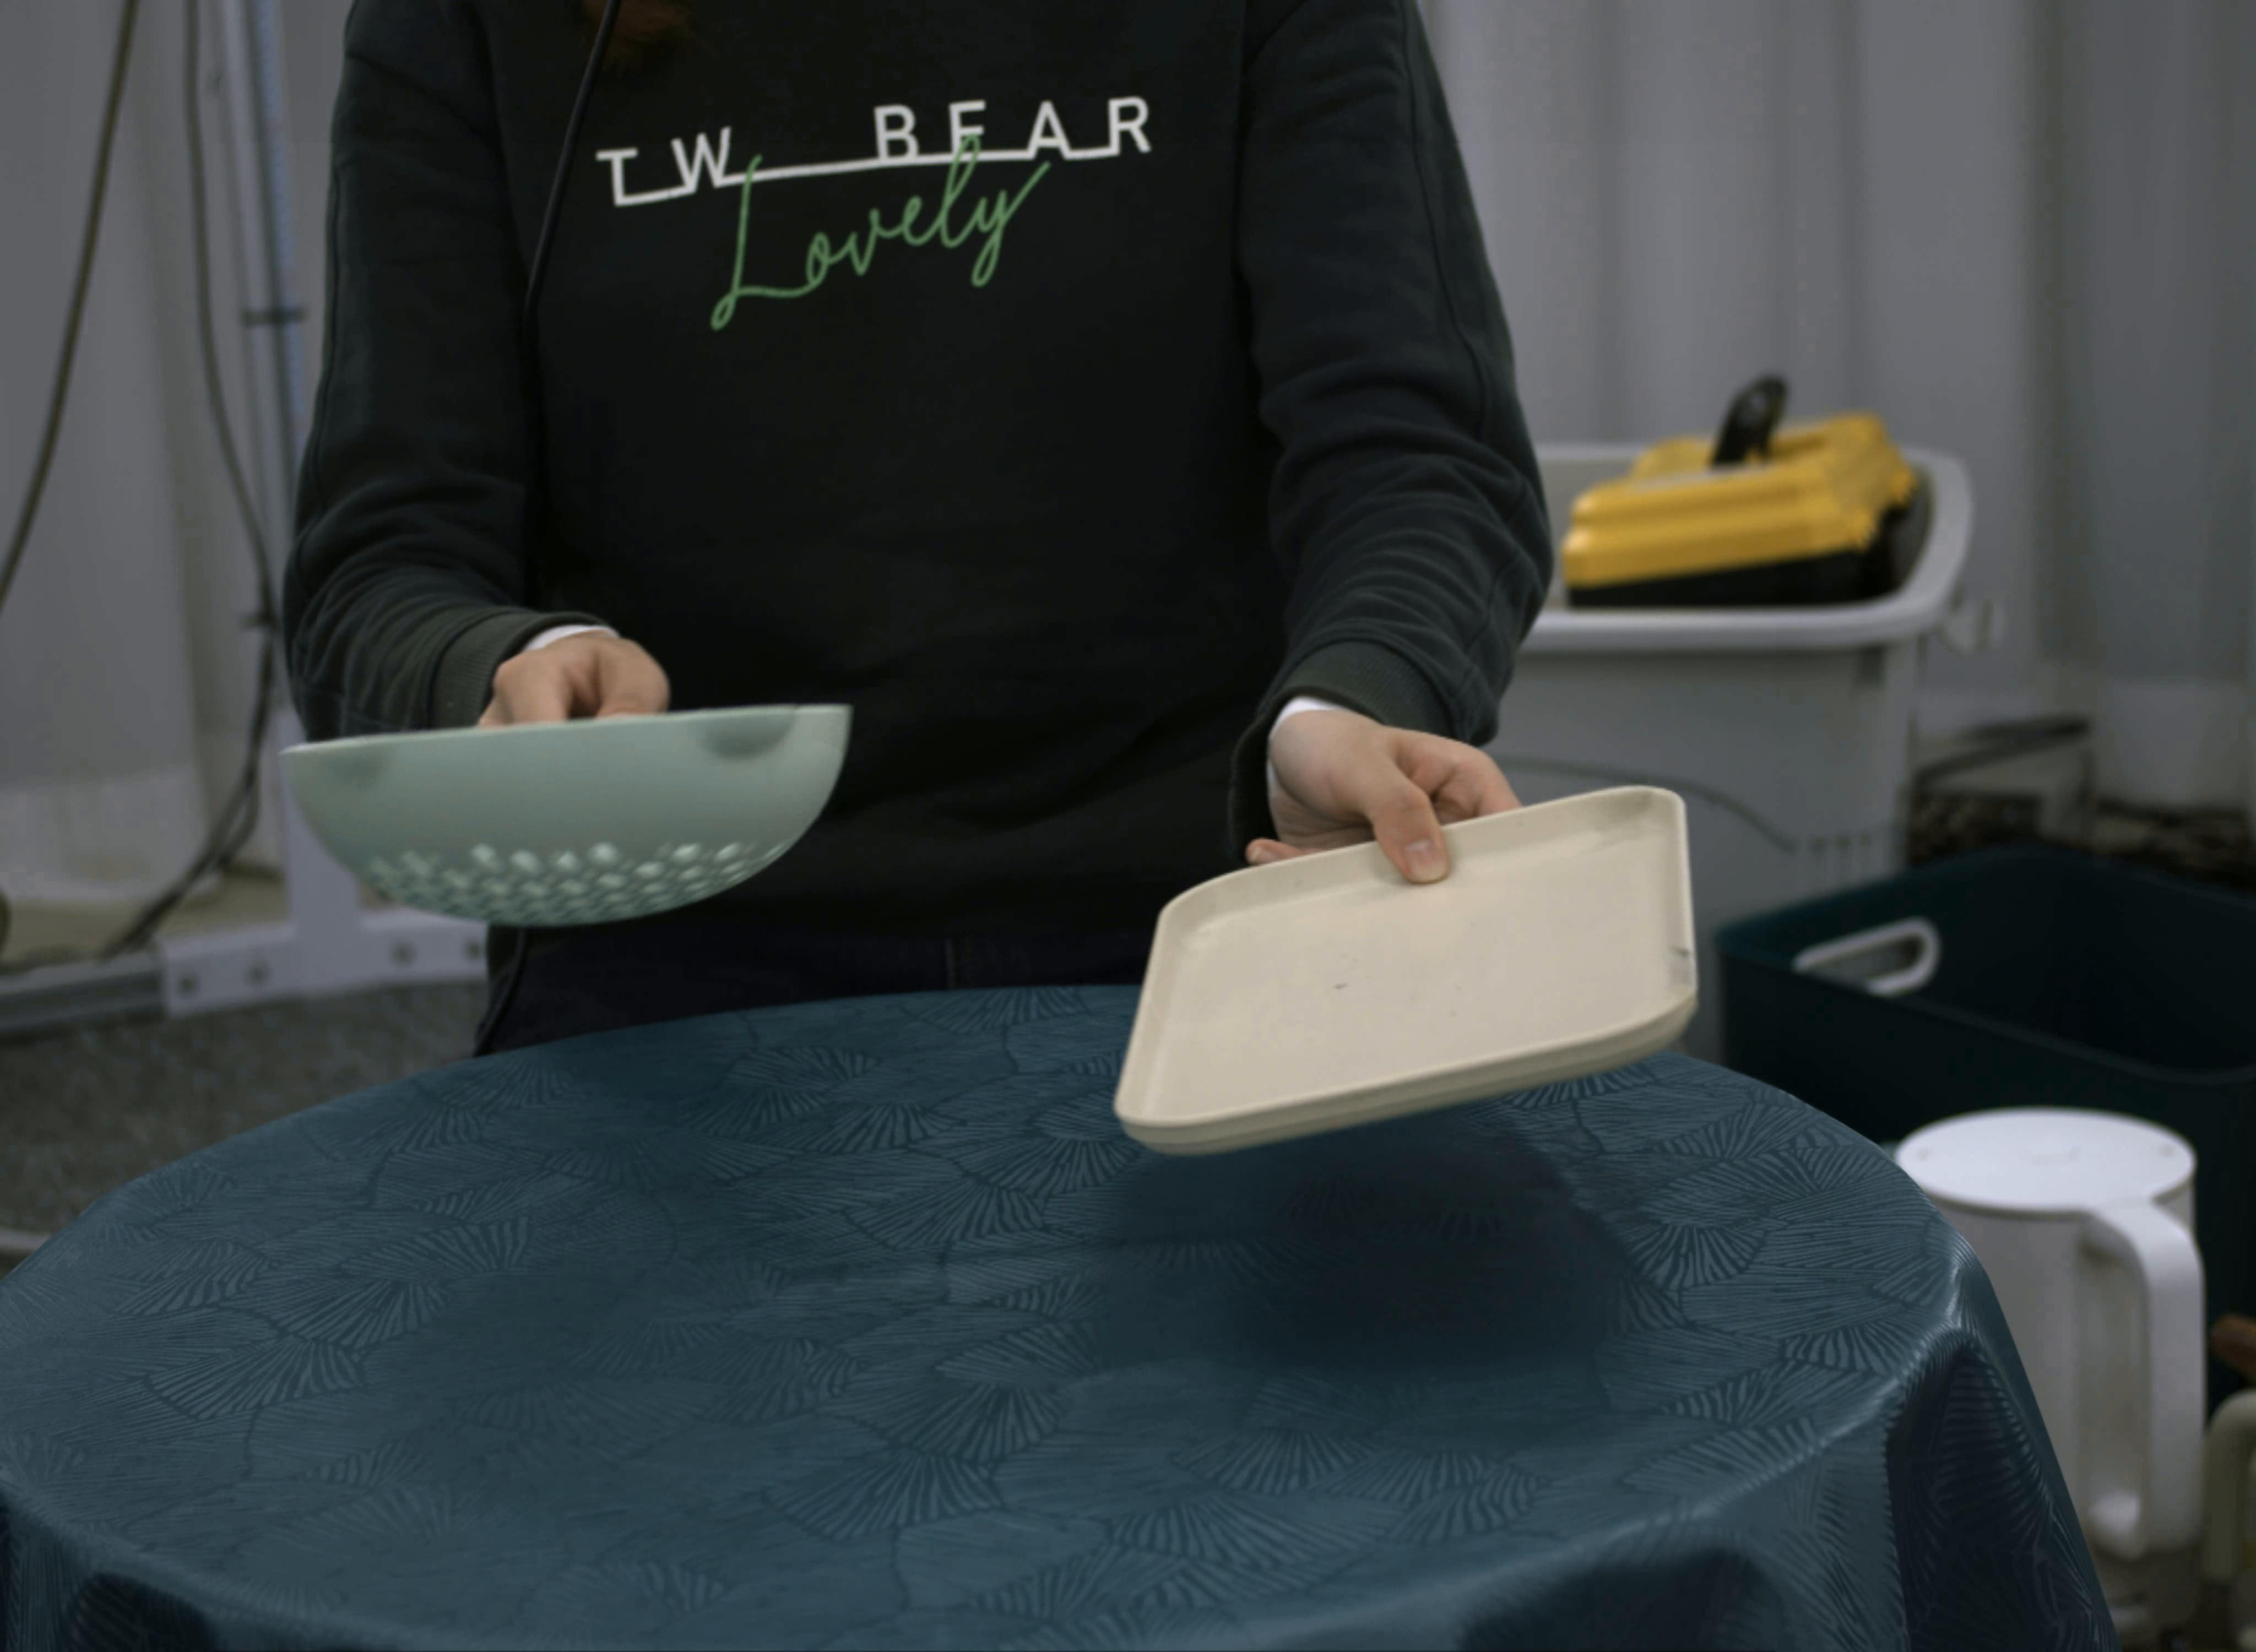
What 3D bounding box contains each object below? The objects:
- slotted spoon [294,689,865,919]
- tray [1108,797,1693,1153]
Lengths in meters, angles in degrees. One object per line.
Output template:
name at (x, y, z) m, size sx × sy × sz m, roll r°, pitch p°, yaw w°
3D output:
slotted spoon at (-0.161, -0.015, 1.716) m, size 0.169 × 0.075 × 0.360 m, roll -4°, pitch 6°, yaw 0°
tray at (0.084, 0.043, 1.629) m, size 0.171 × 0.017 × 0.241 m, roll -12°, pitch 14°, yaw 8°
